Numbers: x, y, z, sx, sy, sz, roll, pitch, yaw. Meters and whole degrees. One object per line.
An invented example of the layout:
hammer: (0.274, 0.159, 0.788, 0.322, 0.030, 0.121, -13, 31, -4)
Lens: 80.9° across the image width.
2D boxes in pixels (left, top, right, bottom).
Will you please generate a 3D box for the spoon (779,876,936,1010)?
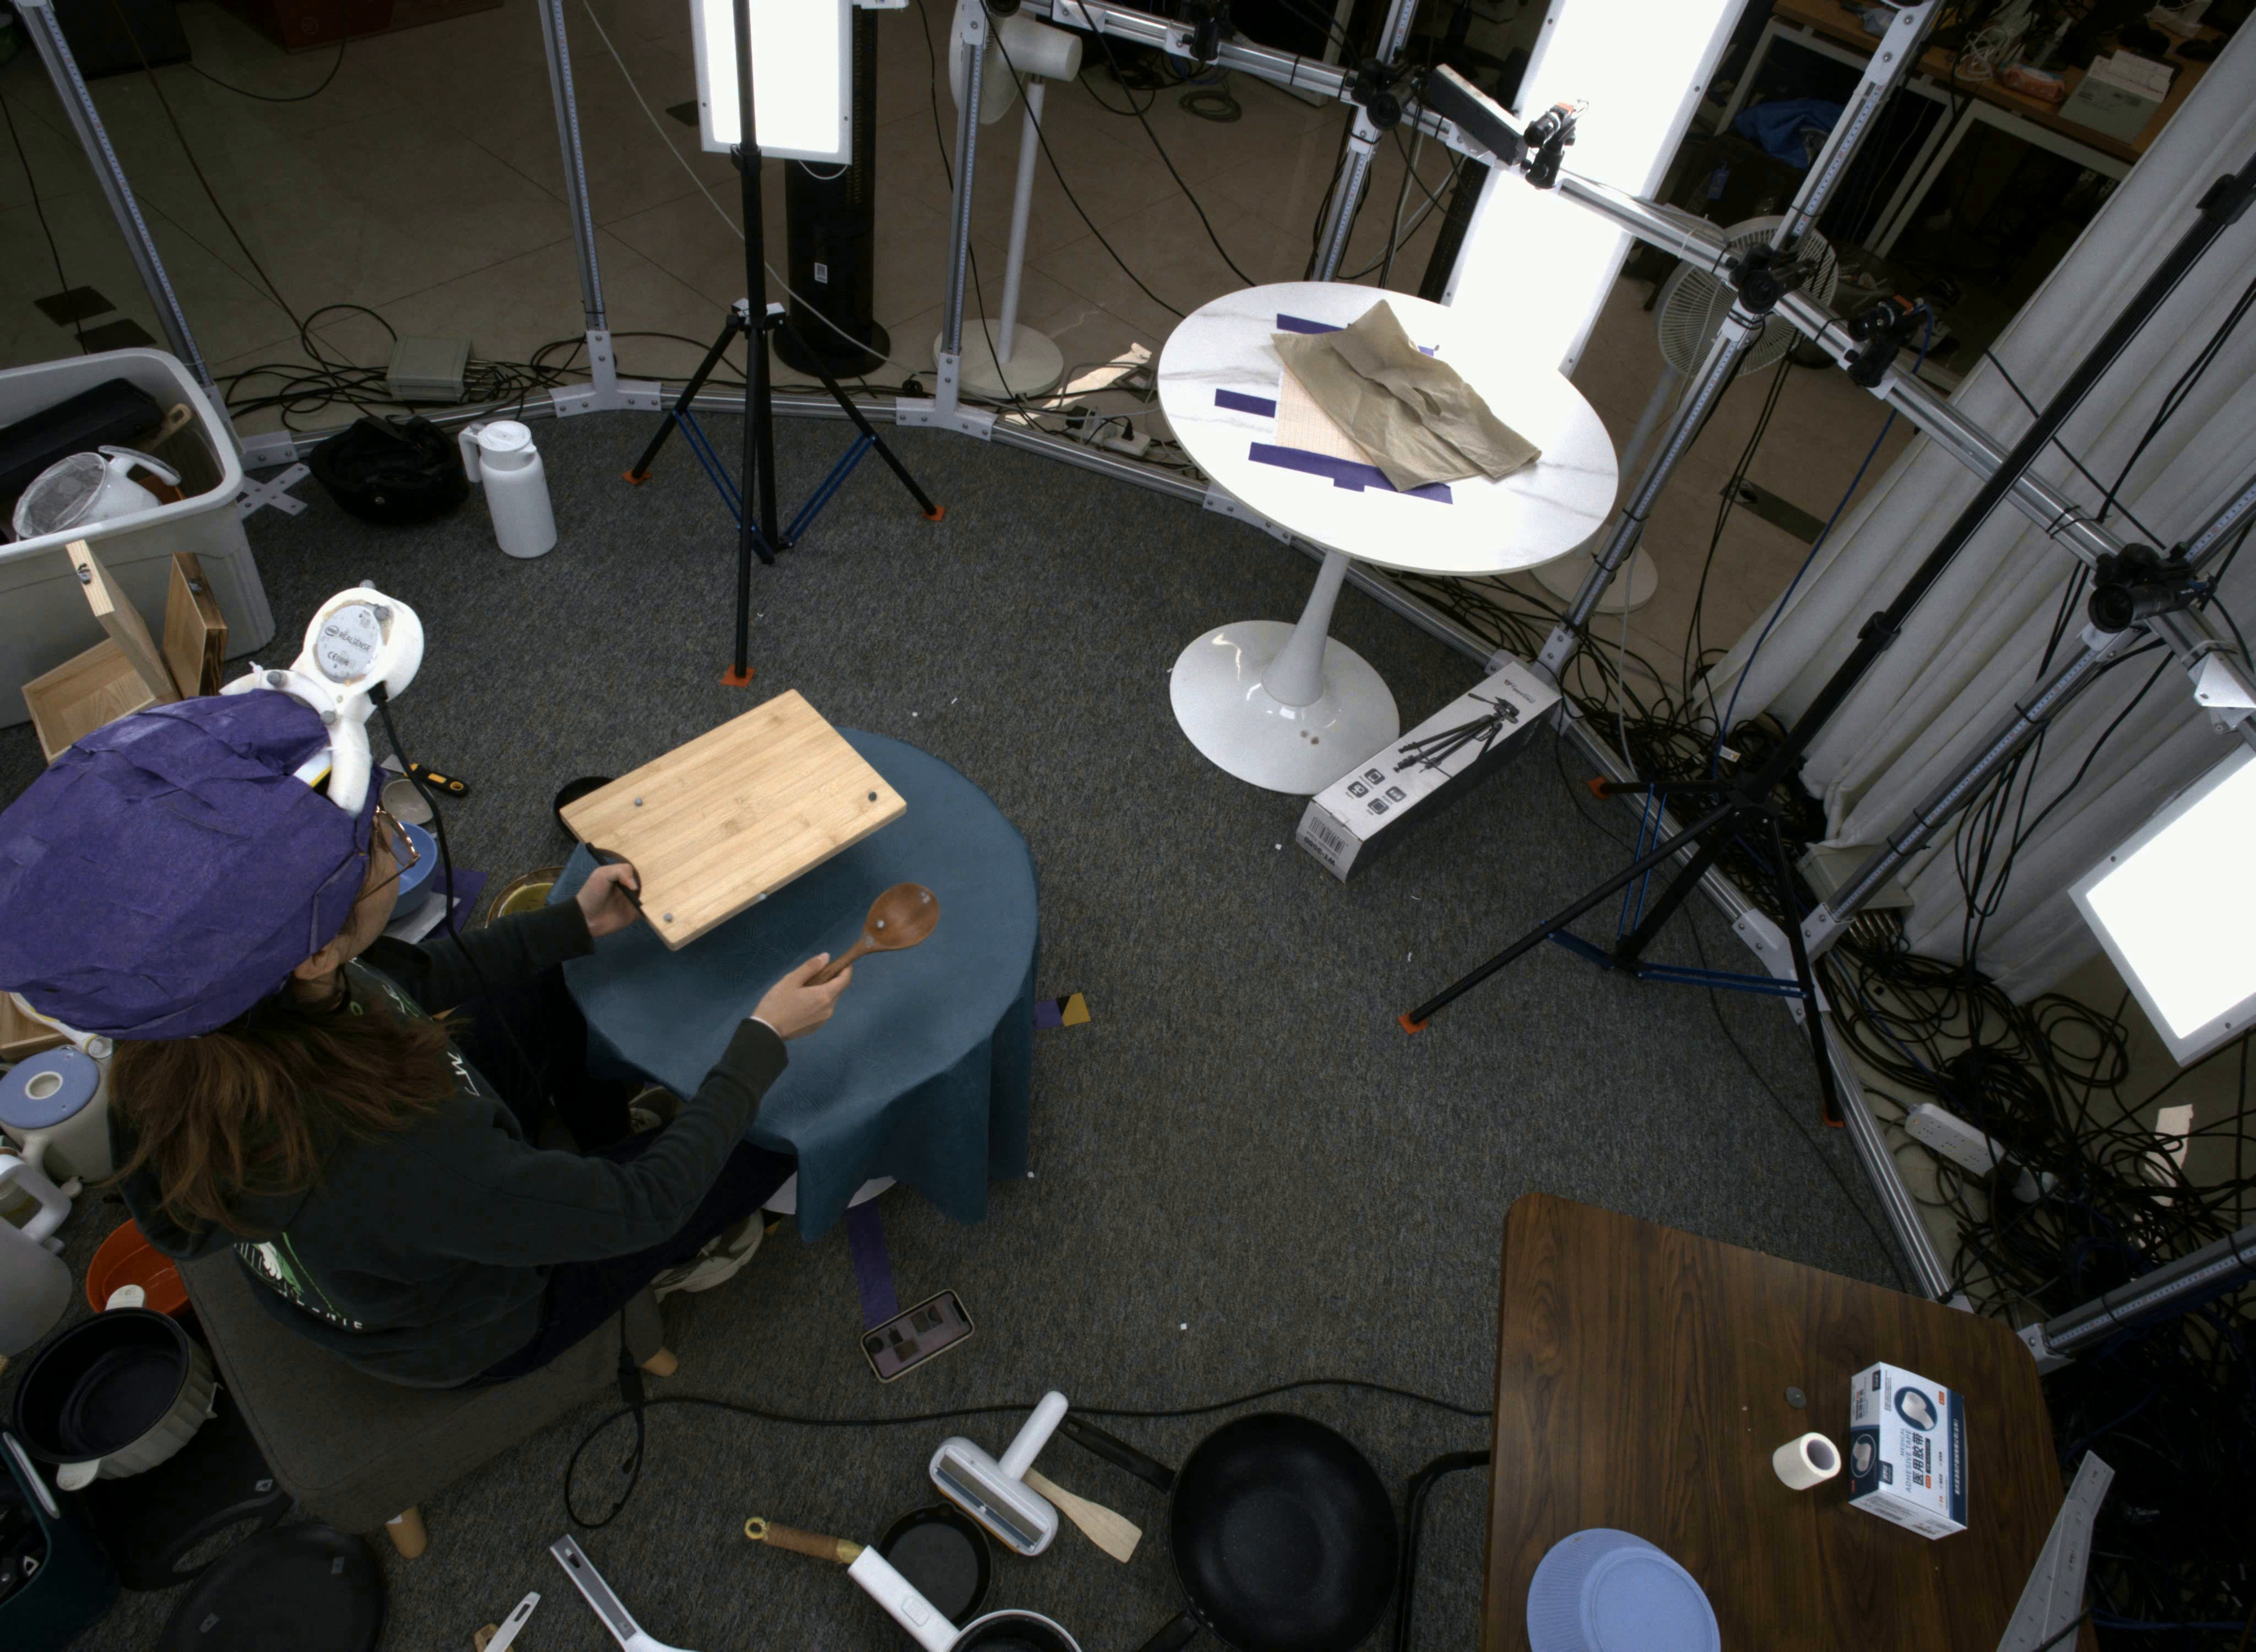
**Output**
spoon: (-0.311, 0.135, 1.492, 0.216, 0.017, 0.076, -40, 95, -26)

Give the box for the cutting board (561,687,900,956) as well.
cutting board: (-0.484, -0.018, 1.575, 0.245, 0.024, 0.349, 43, 56, 18)
